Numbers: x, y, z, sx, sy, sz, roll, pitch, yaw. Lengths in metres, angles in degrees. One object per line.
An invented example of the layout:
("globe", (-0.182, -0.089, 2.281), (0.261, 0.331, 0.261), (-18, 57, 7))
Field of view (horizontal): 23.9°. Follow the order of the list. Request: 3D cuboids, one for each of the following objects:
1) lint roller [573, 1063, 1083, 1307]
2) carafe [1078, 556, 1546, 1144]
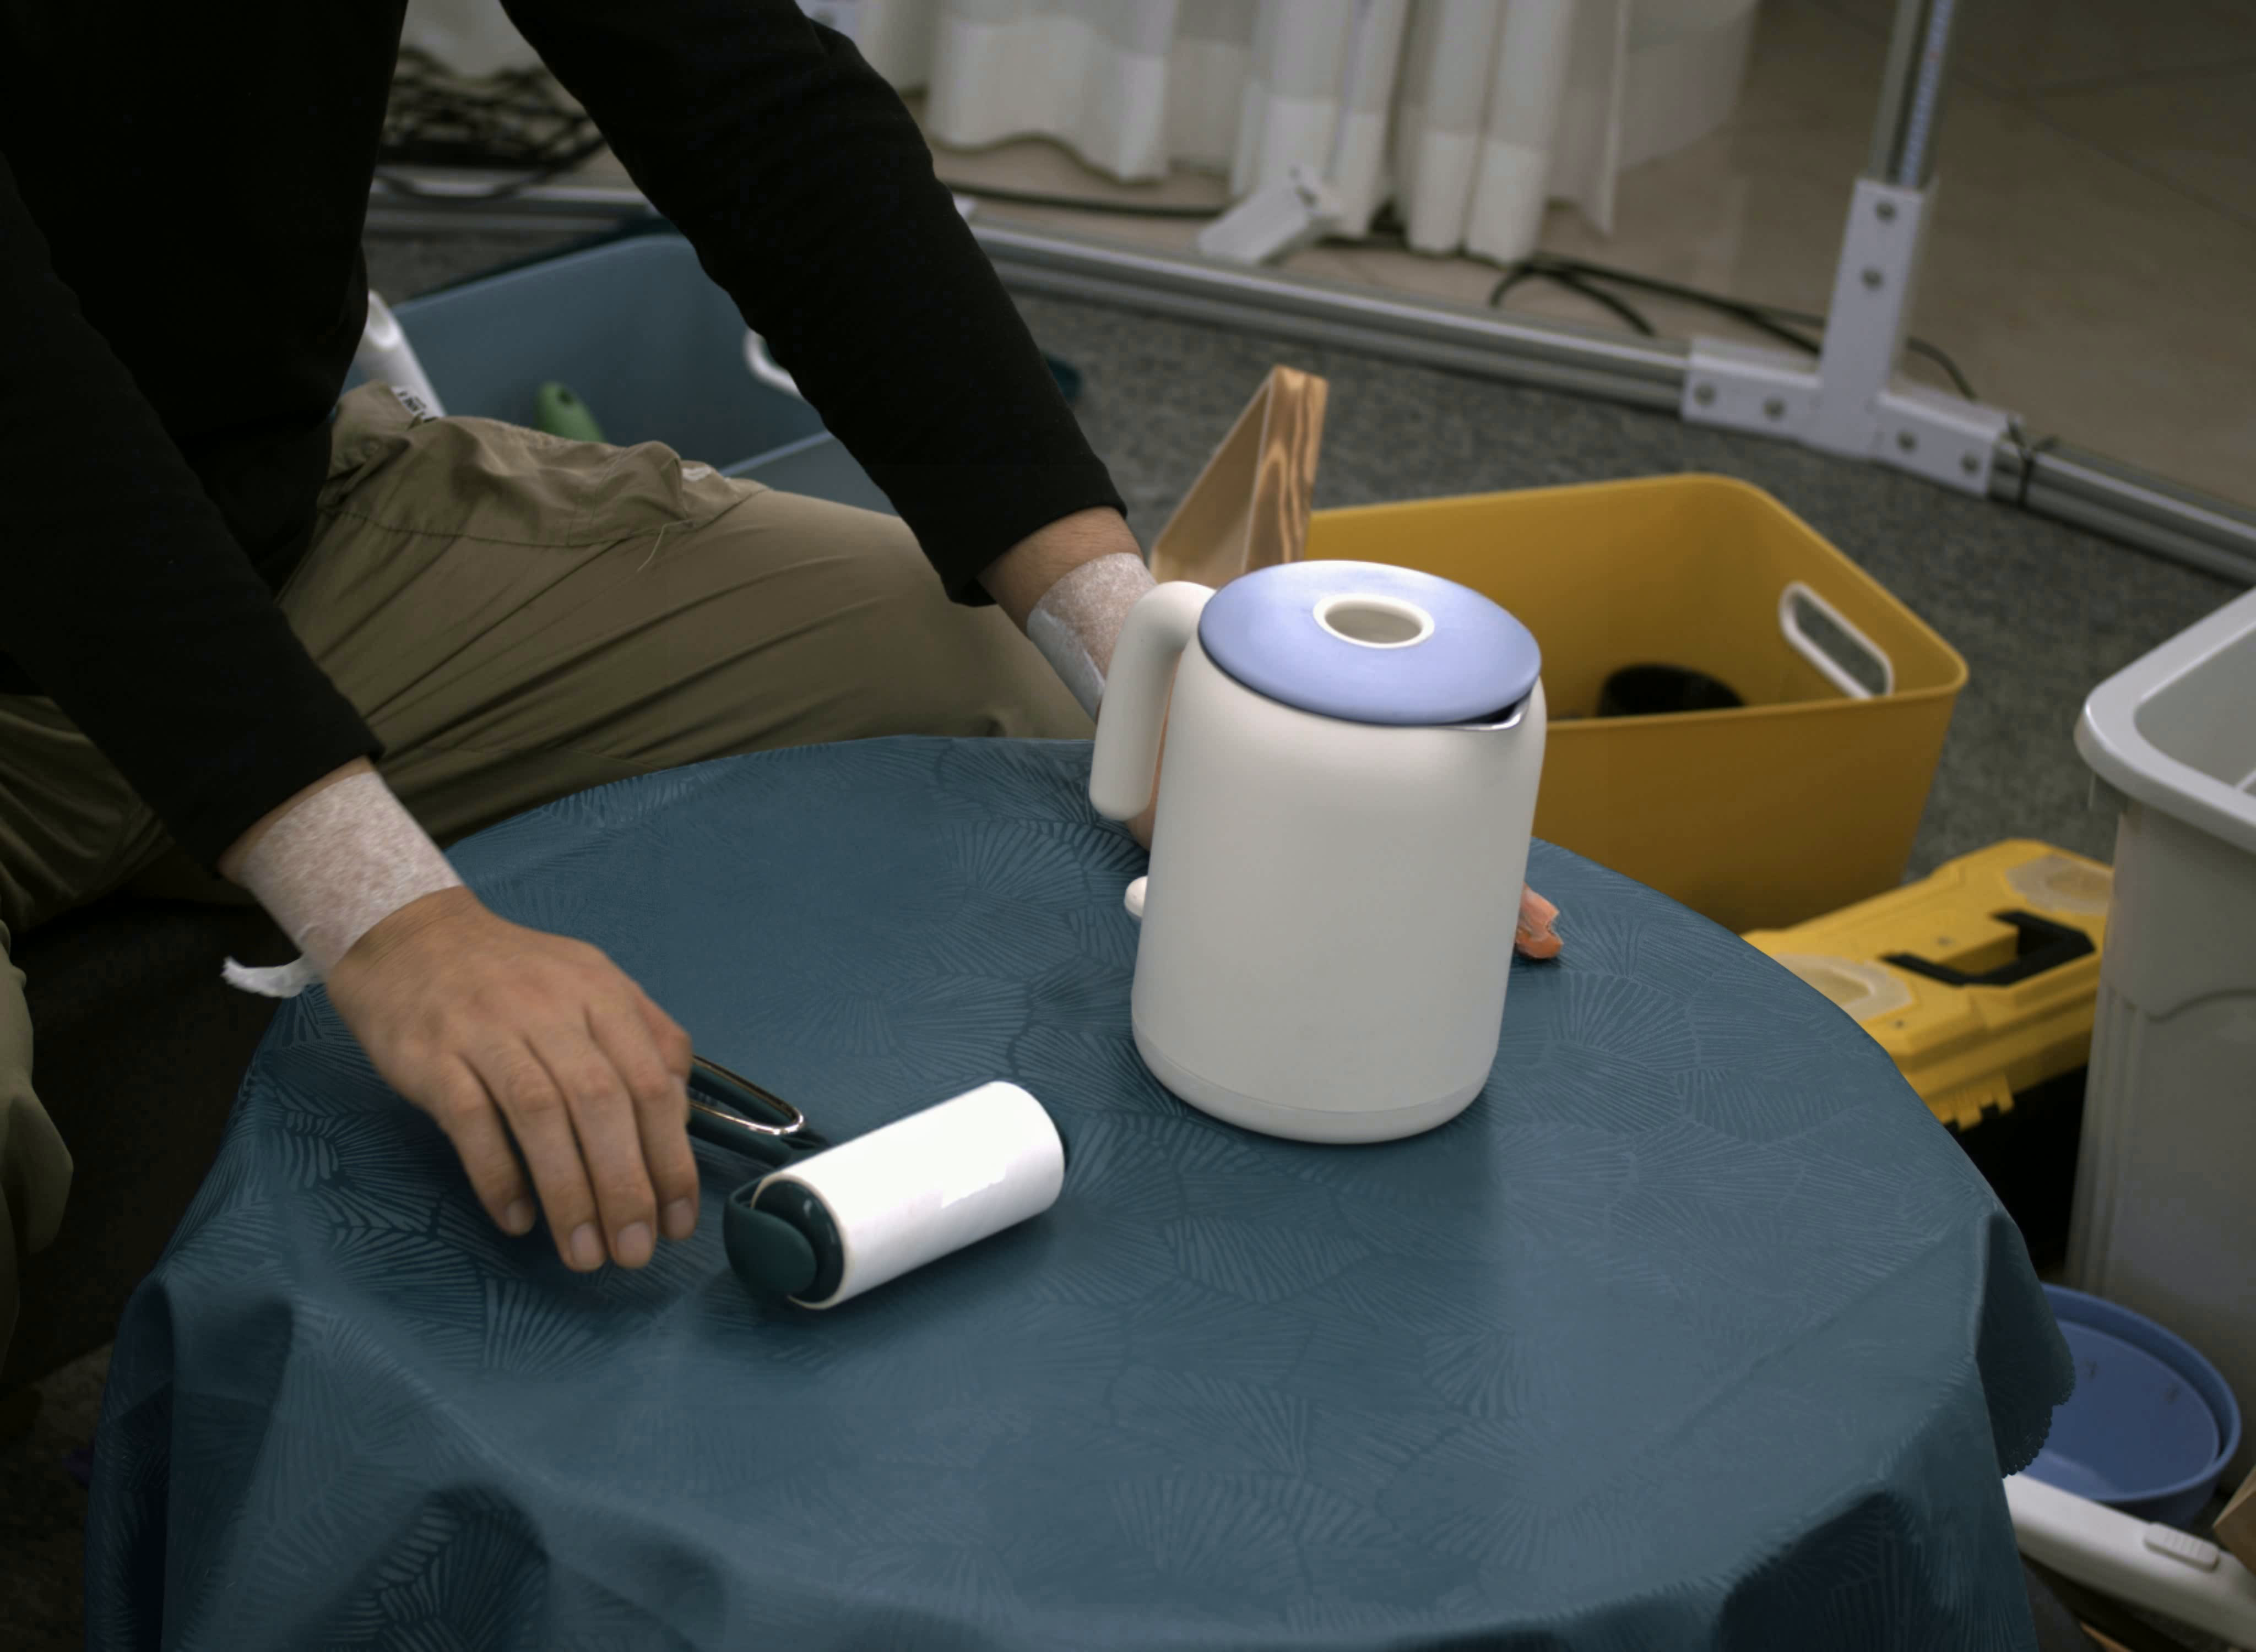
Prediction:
("lint roller", (-0.122, 0.097, 1.781), (0.181, 0.048, 0.133), (25, 32, 37))
("carafe", (0.056, -0.001, 1.871), (0.192, 0.182, 0.131), (27, 32, 38))
